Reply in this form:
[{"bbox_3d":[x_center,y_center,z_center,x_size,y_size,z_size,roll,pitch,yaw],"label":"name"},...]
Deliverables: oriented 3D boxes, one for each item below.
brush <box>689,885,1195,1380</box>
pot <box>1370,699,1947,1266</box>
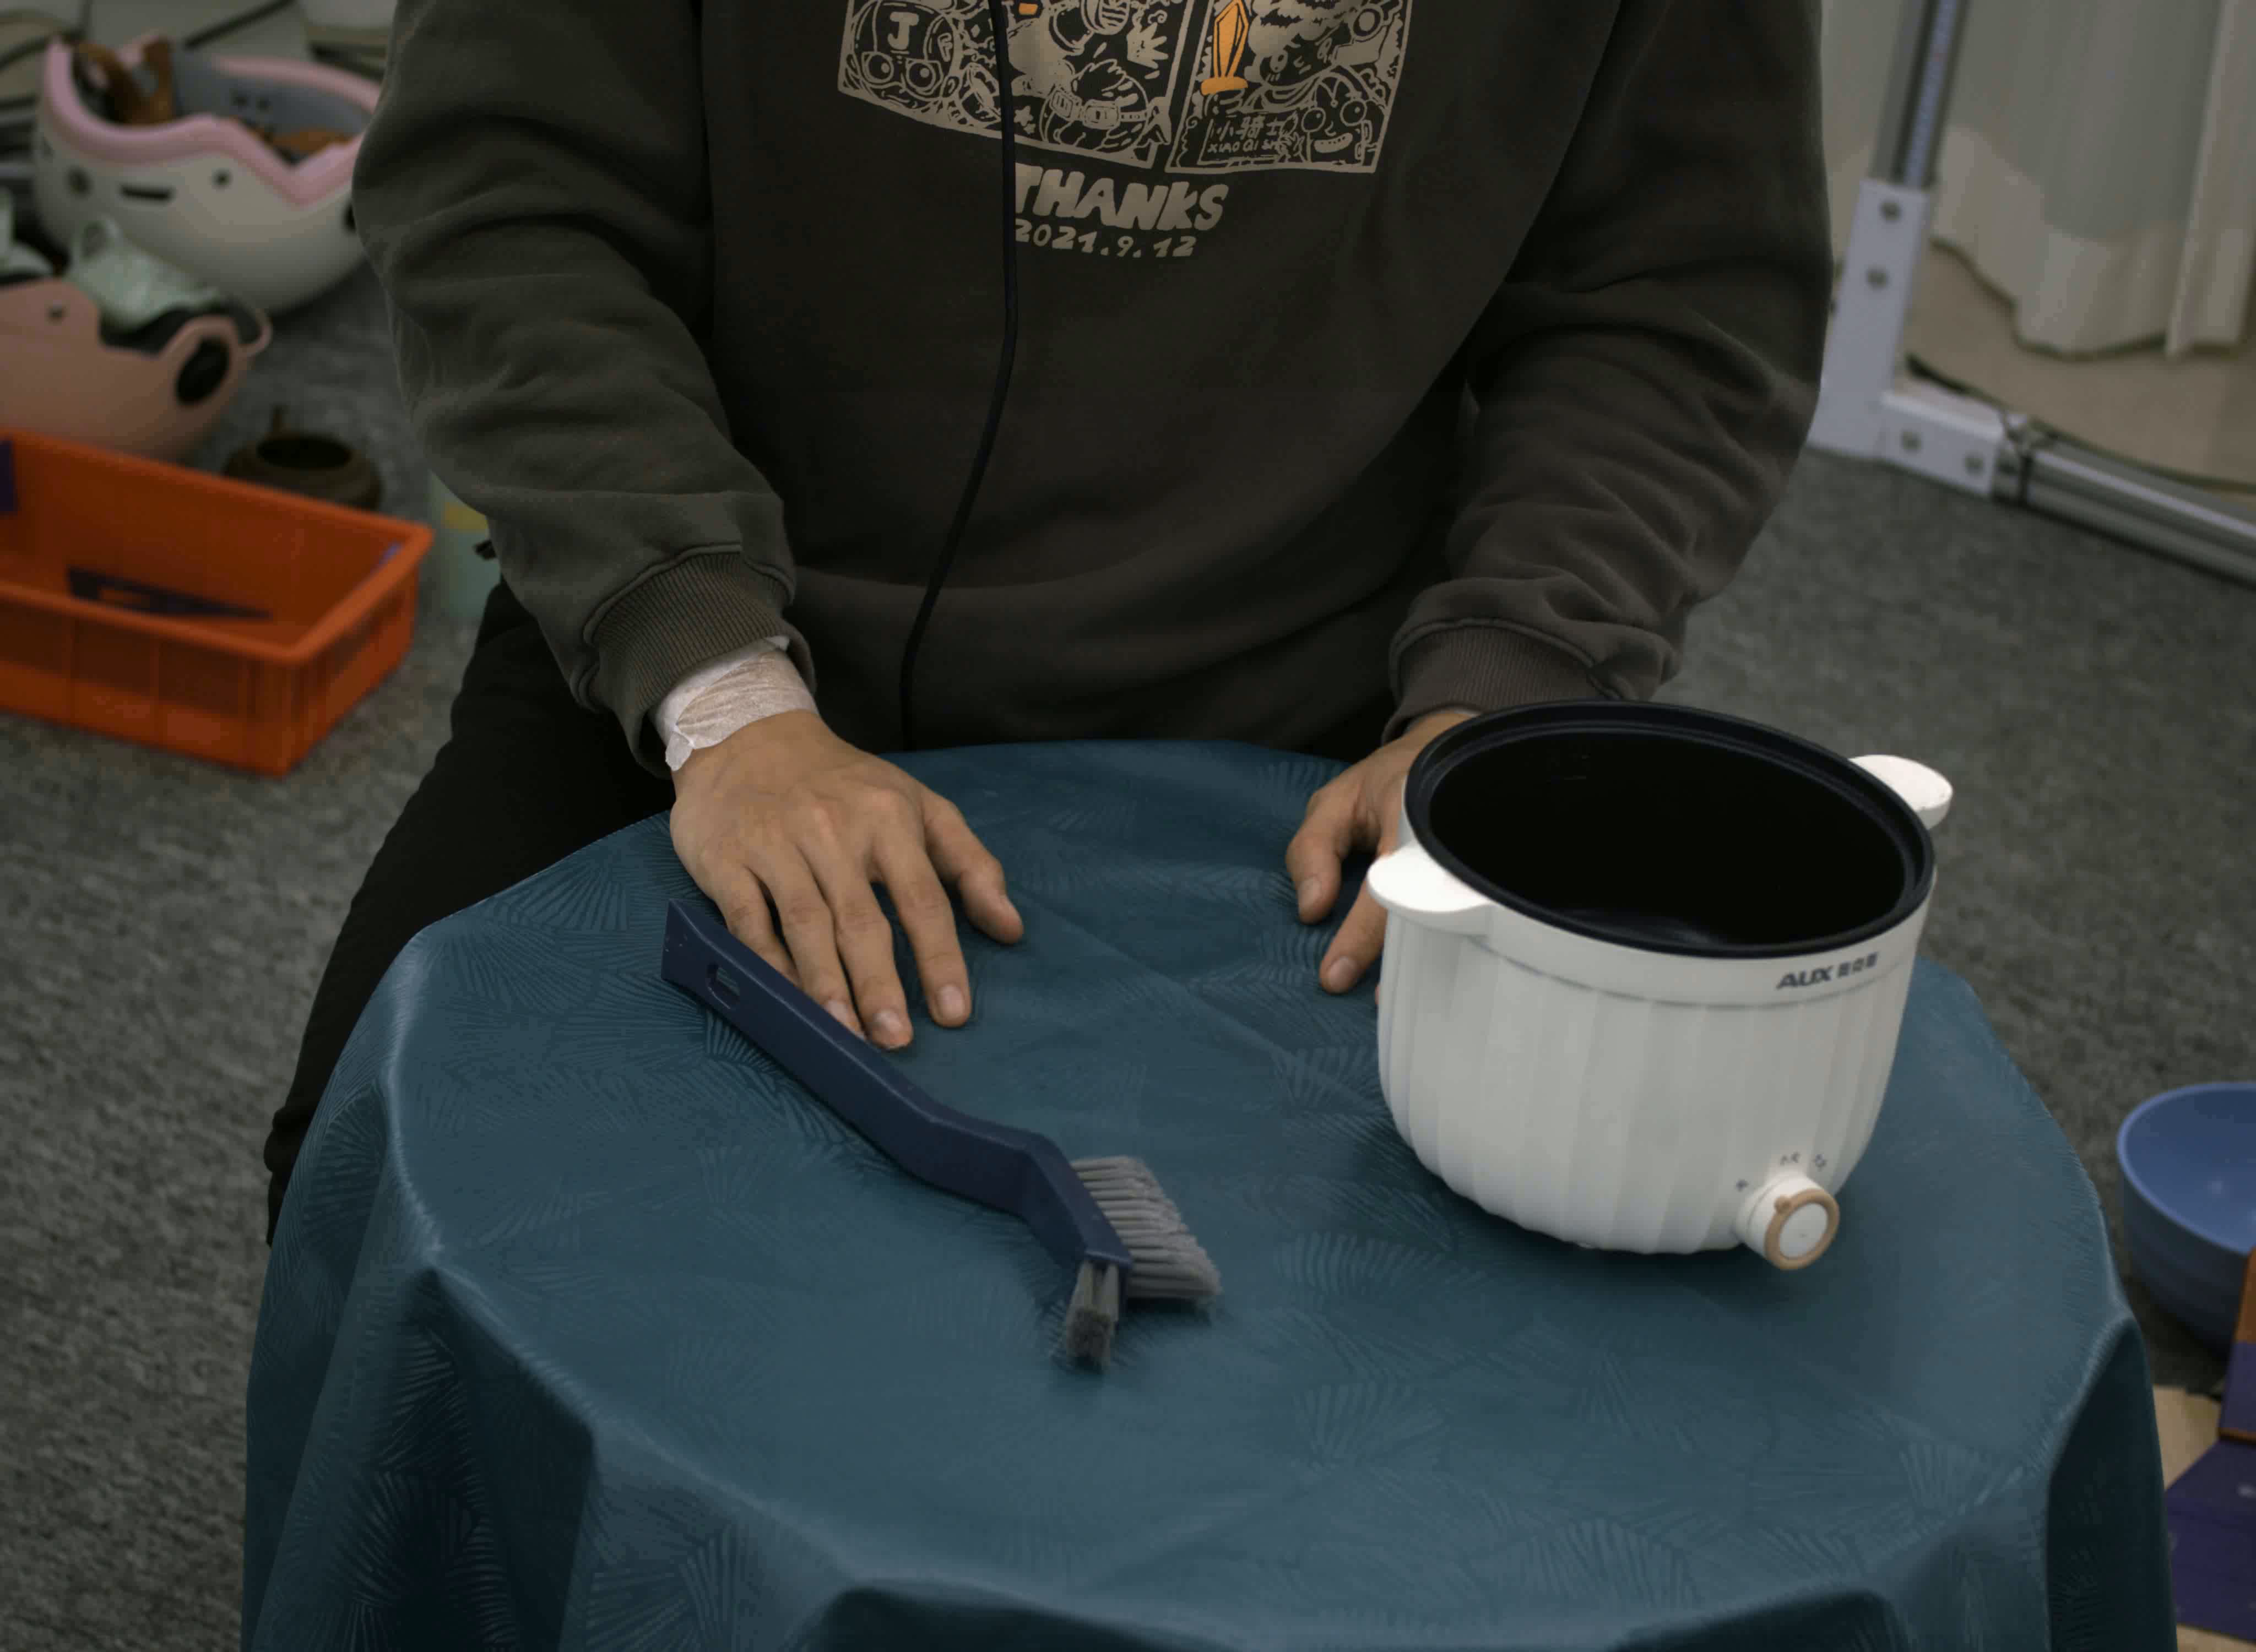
[{"bbox_3d":[-0.081,0.099,1.800,0.095,0.033,0.275,-20,38,-41],"label":"brush"},{"bbox_3d":[0.180,0.058,1.820,0.239,0.142,0.192,-12,29,-31],"label":"pot"}]
